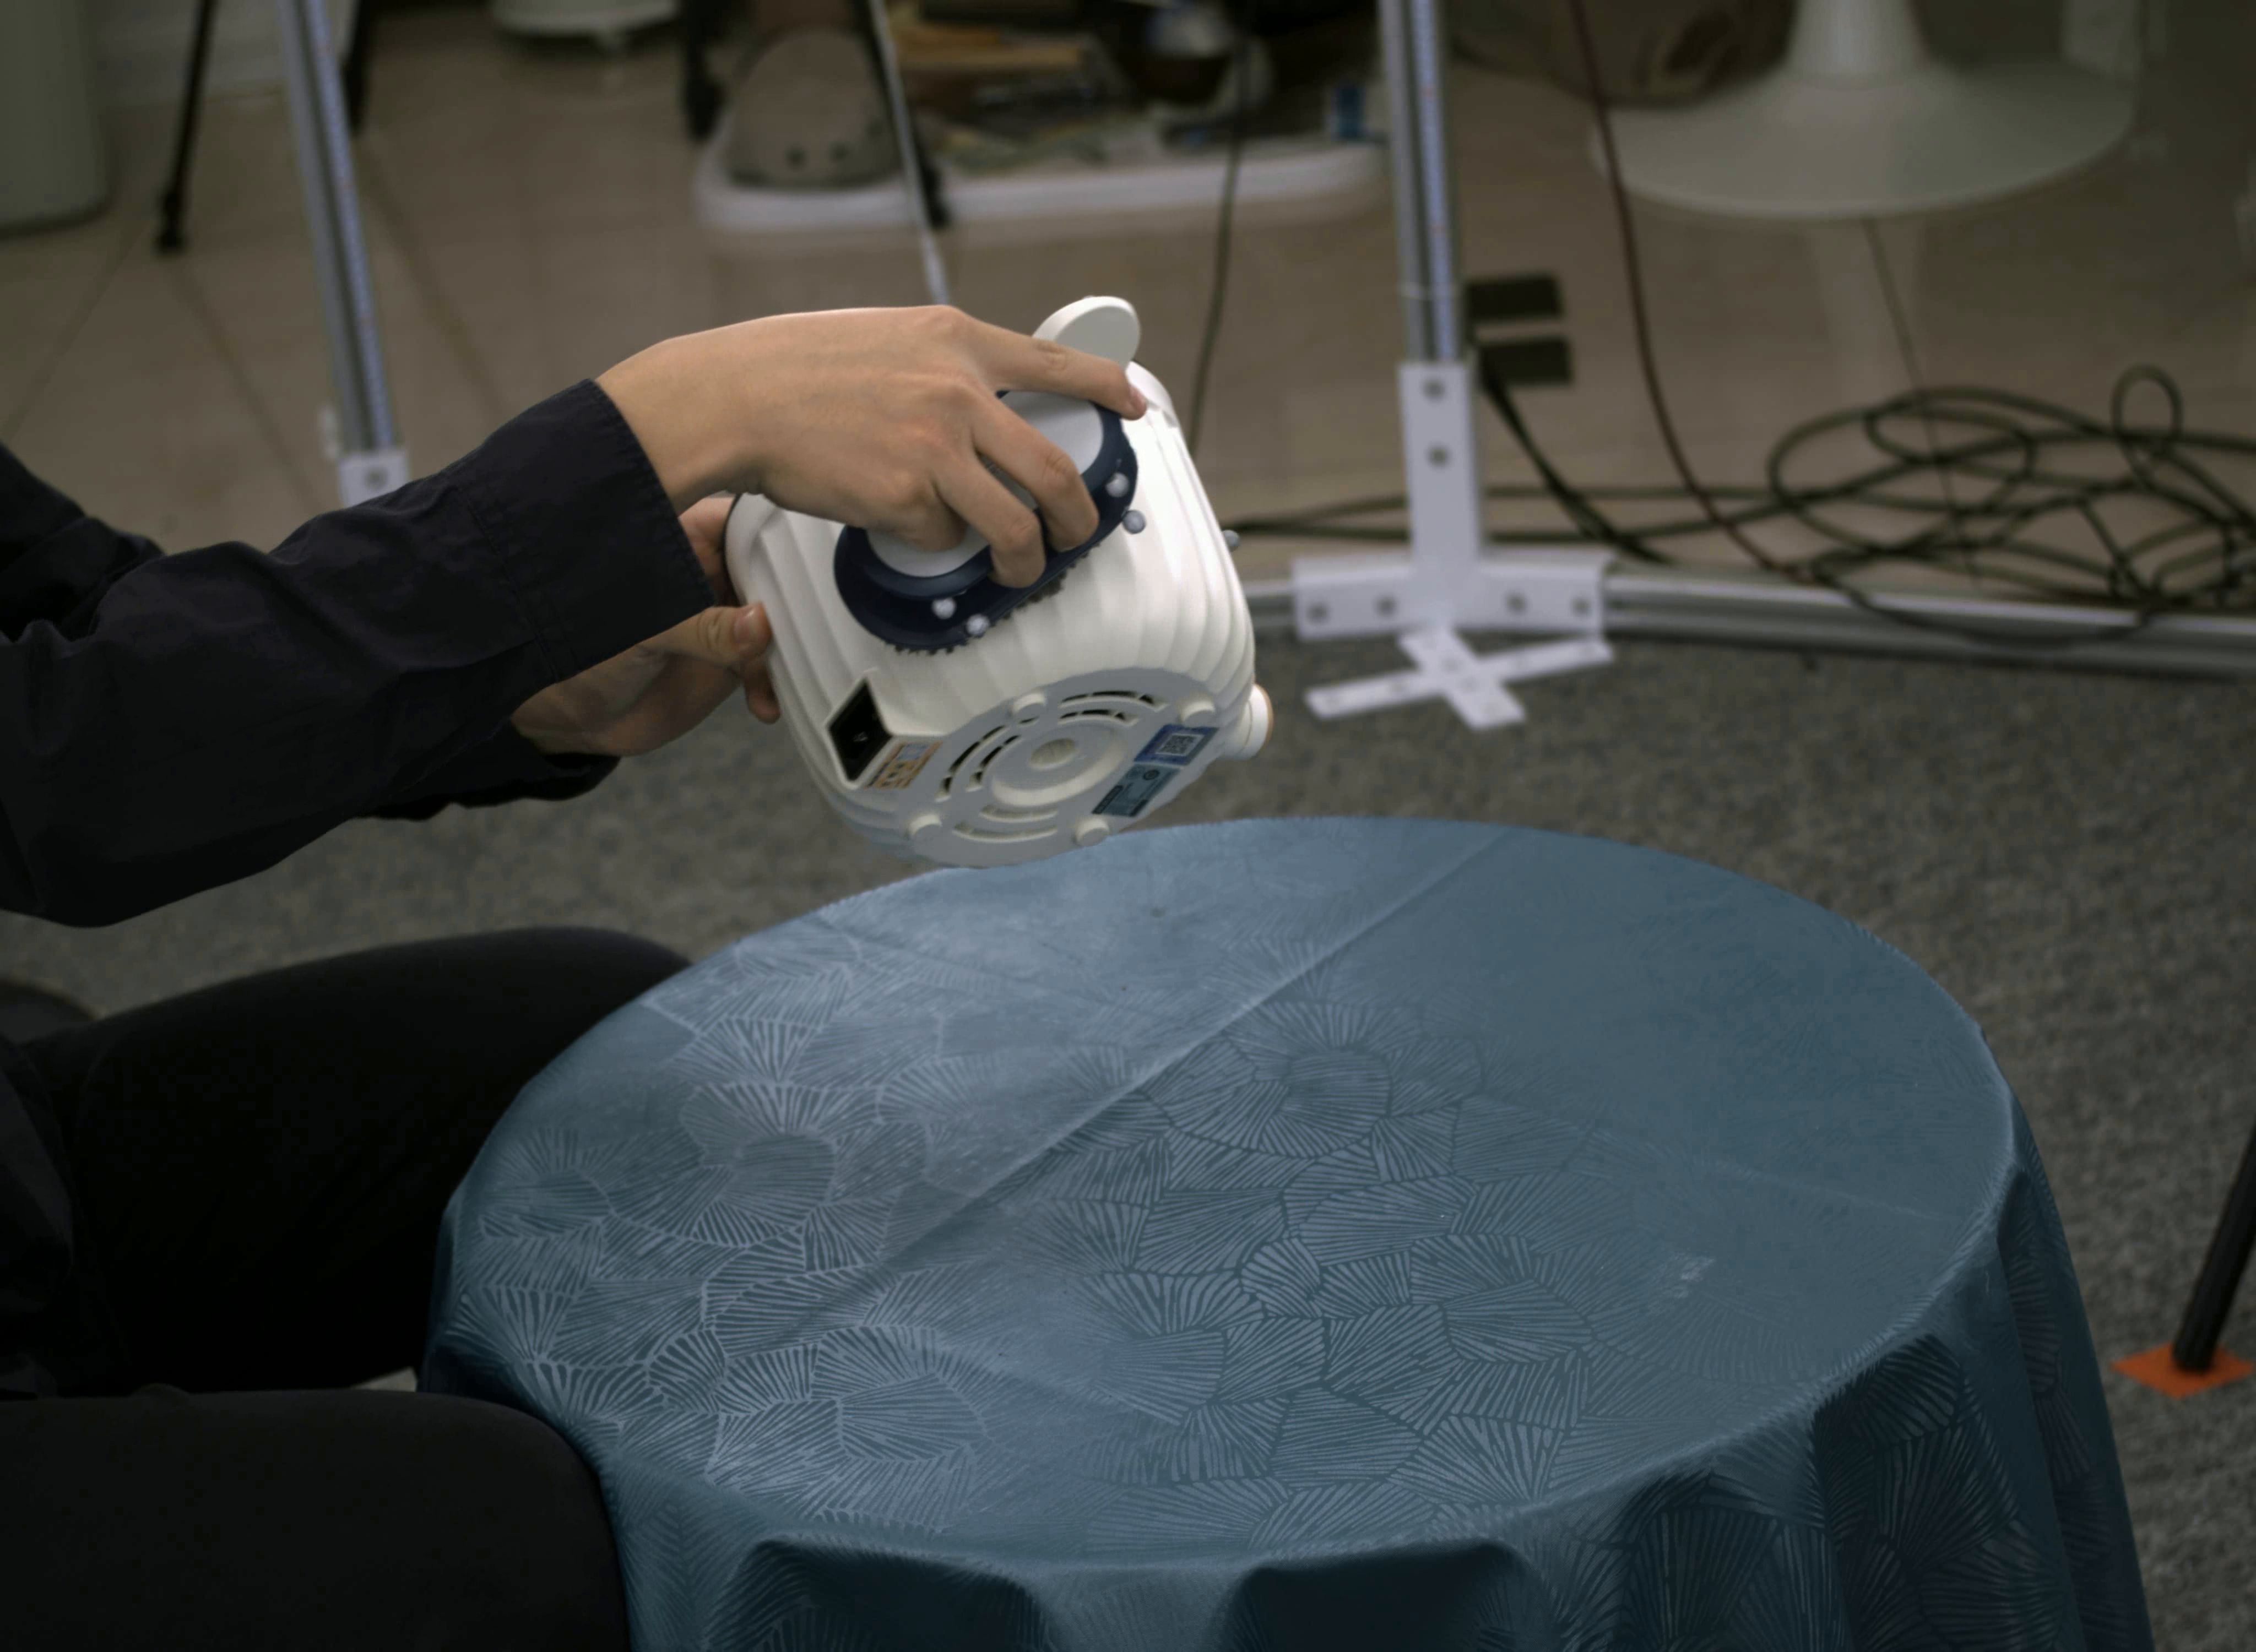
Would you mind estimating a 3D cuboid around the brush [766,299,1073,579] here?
[{"bbox_3d":[-0.074,-0.137,2.025,0.121,0.062,0.067,-33,73,-14],"label":"brush"}]

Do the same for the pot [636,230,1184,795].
[{"bbox_3d":[-0.076,-0.102,2.161,0.190,0.243,0.141,-2,59,-39],"label":"pot"}]
